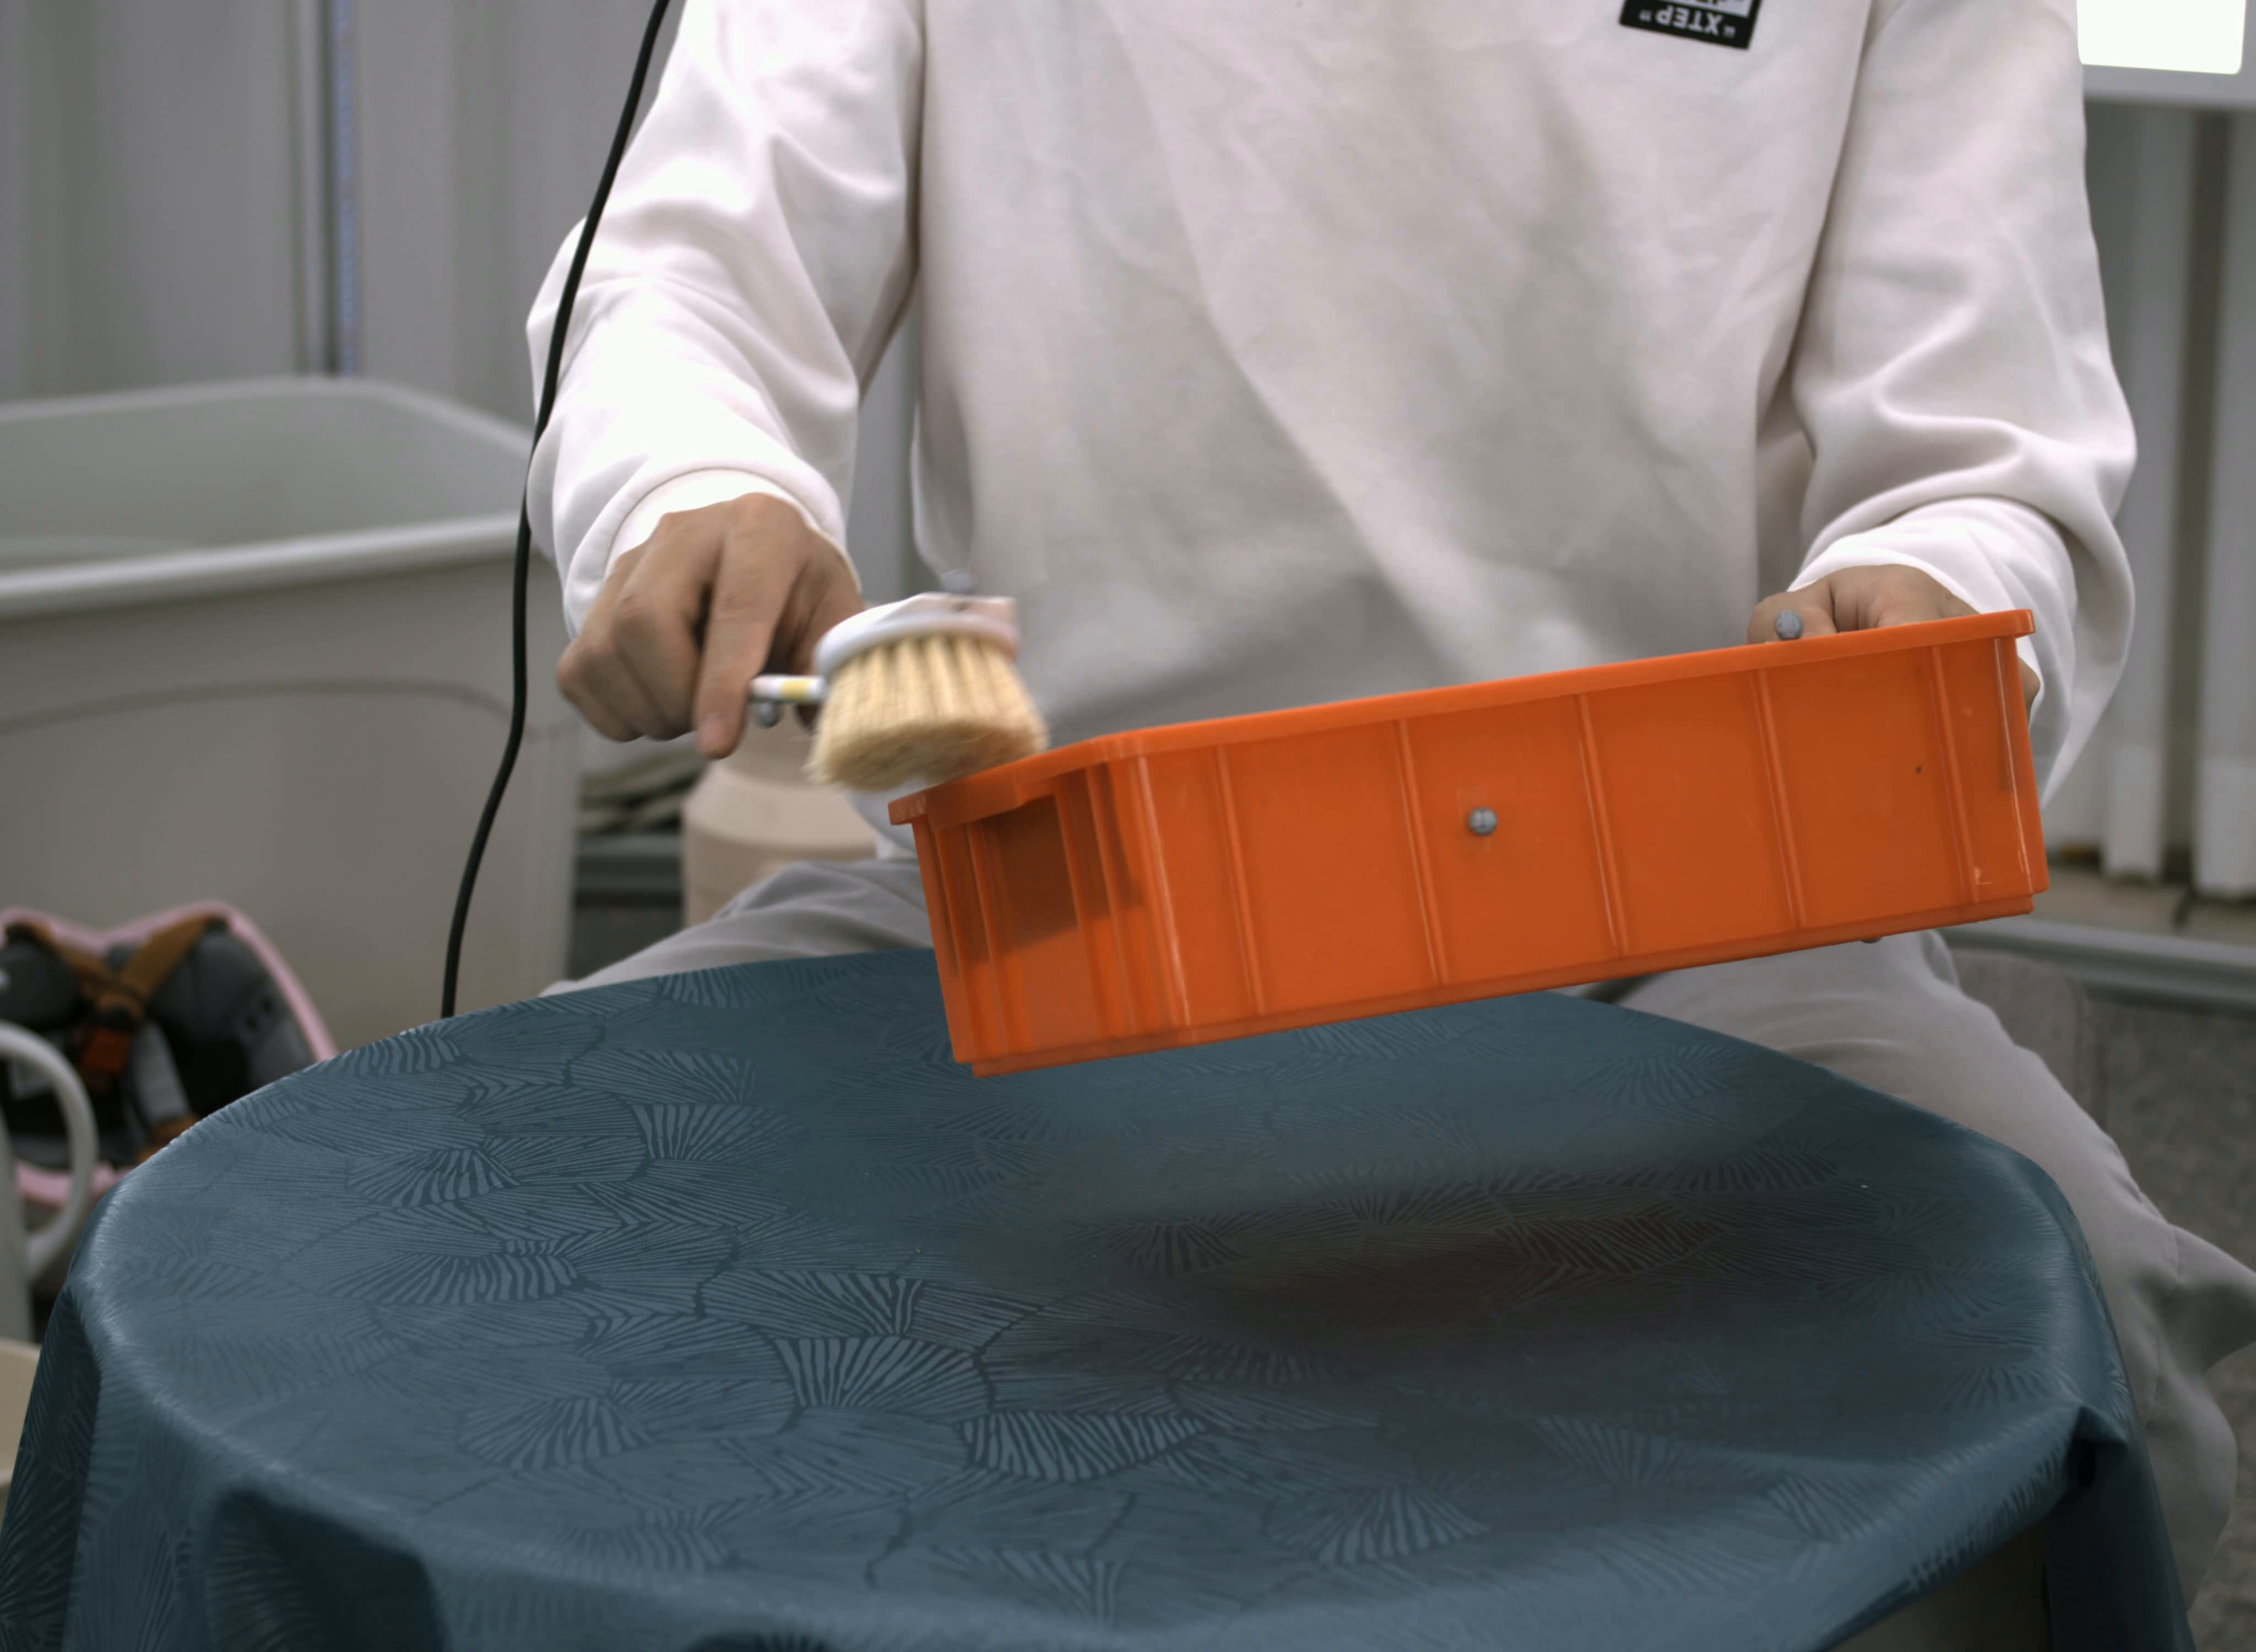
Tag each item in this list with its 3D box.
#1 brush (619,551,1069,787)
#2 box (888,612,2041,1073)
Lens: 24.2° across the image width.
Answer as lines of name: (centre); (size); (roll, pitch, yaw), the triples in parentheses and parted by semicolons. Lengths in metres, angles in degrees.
brush: (-0.097, -0.030, 1.618); (0.069, 0.056, 0.265); (17, -17, -26)
box: (0.099, 0.009, 1.557); (0.304, 0.096, 0.205); (-6, -4, -21)
